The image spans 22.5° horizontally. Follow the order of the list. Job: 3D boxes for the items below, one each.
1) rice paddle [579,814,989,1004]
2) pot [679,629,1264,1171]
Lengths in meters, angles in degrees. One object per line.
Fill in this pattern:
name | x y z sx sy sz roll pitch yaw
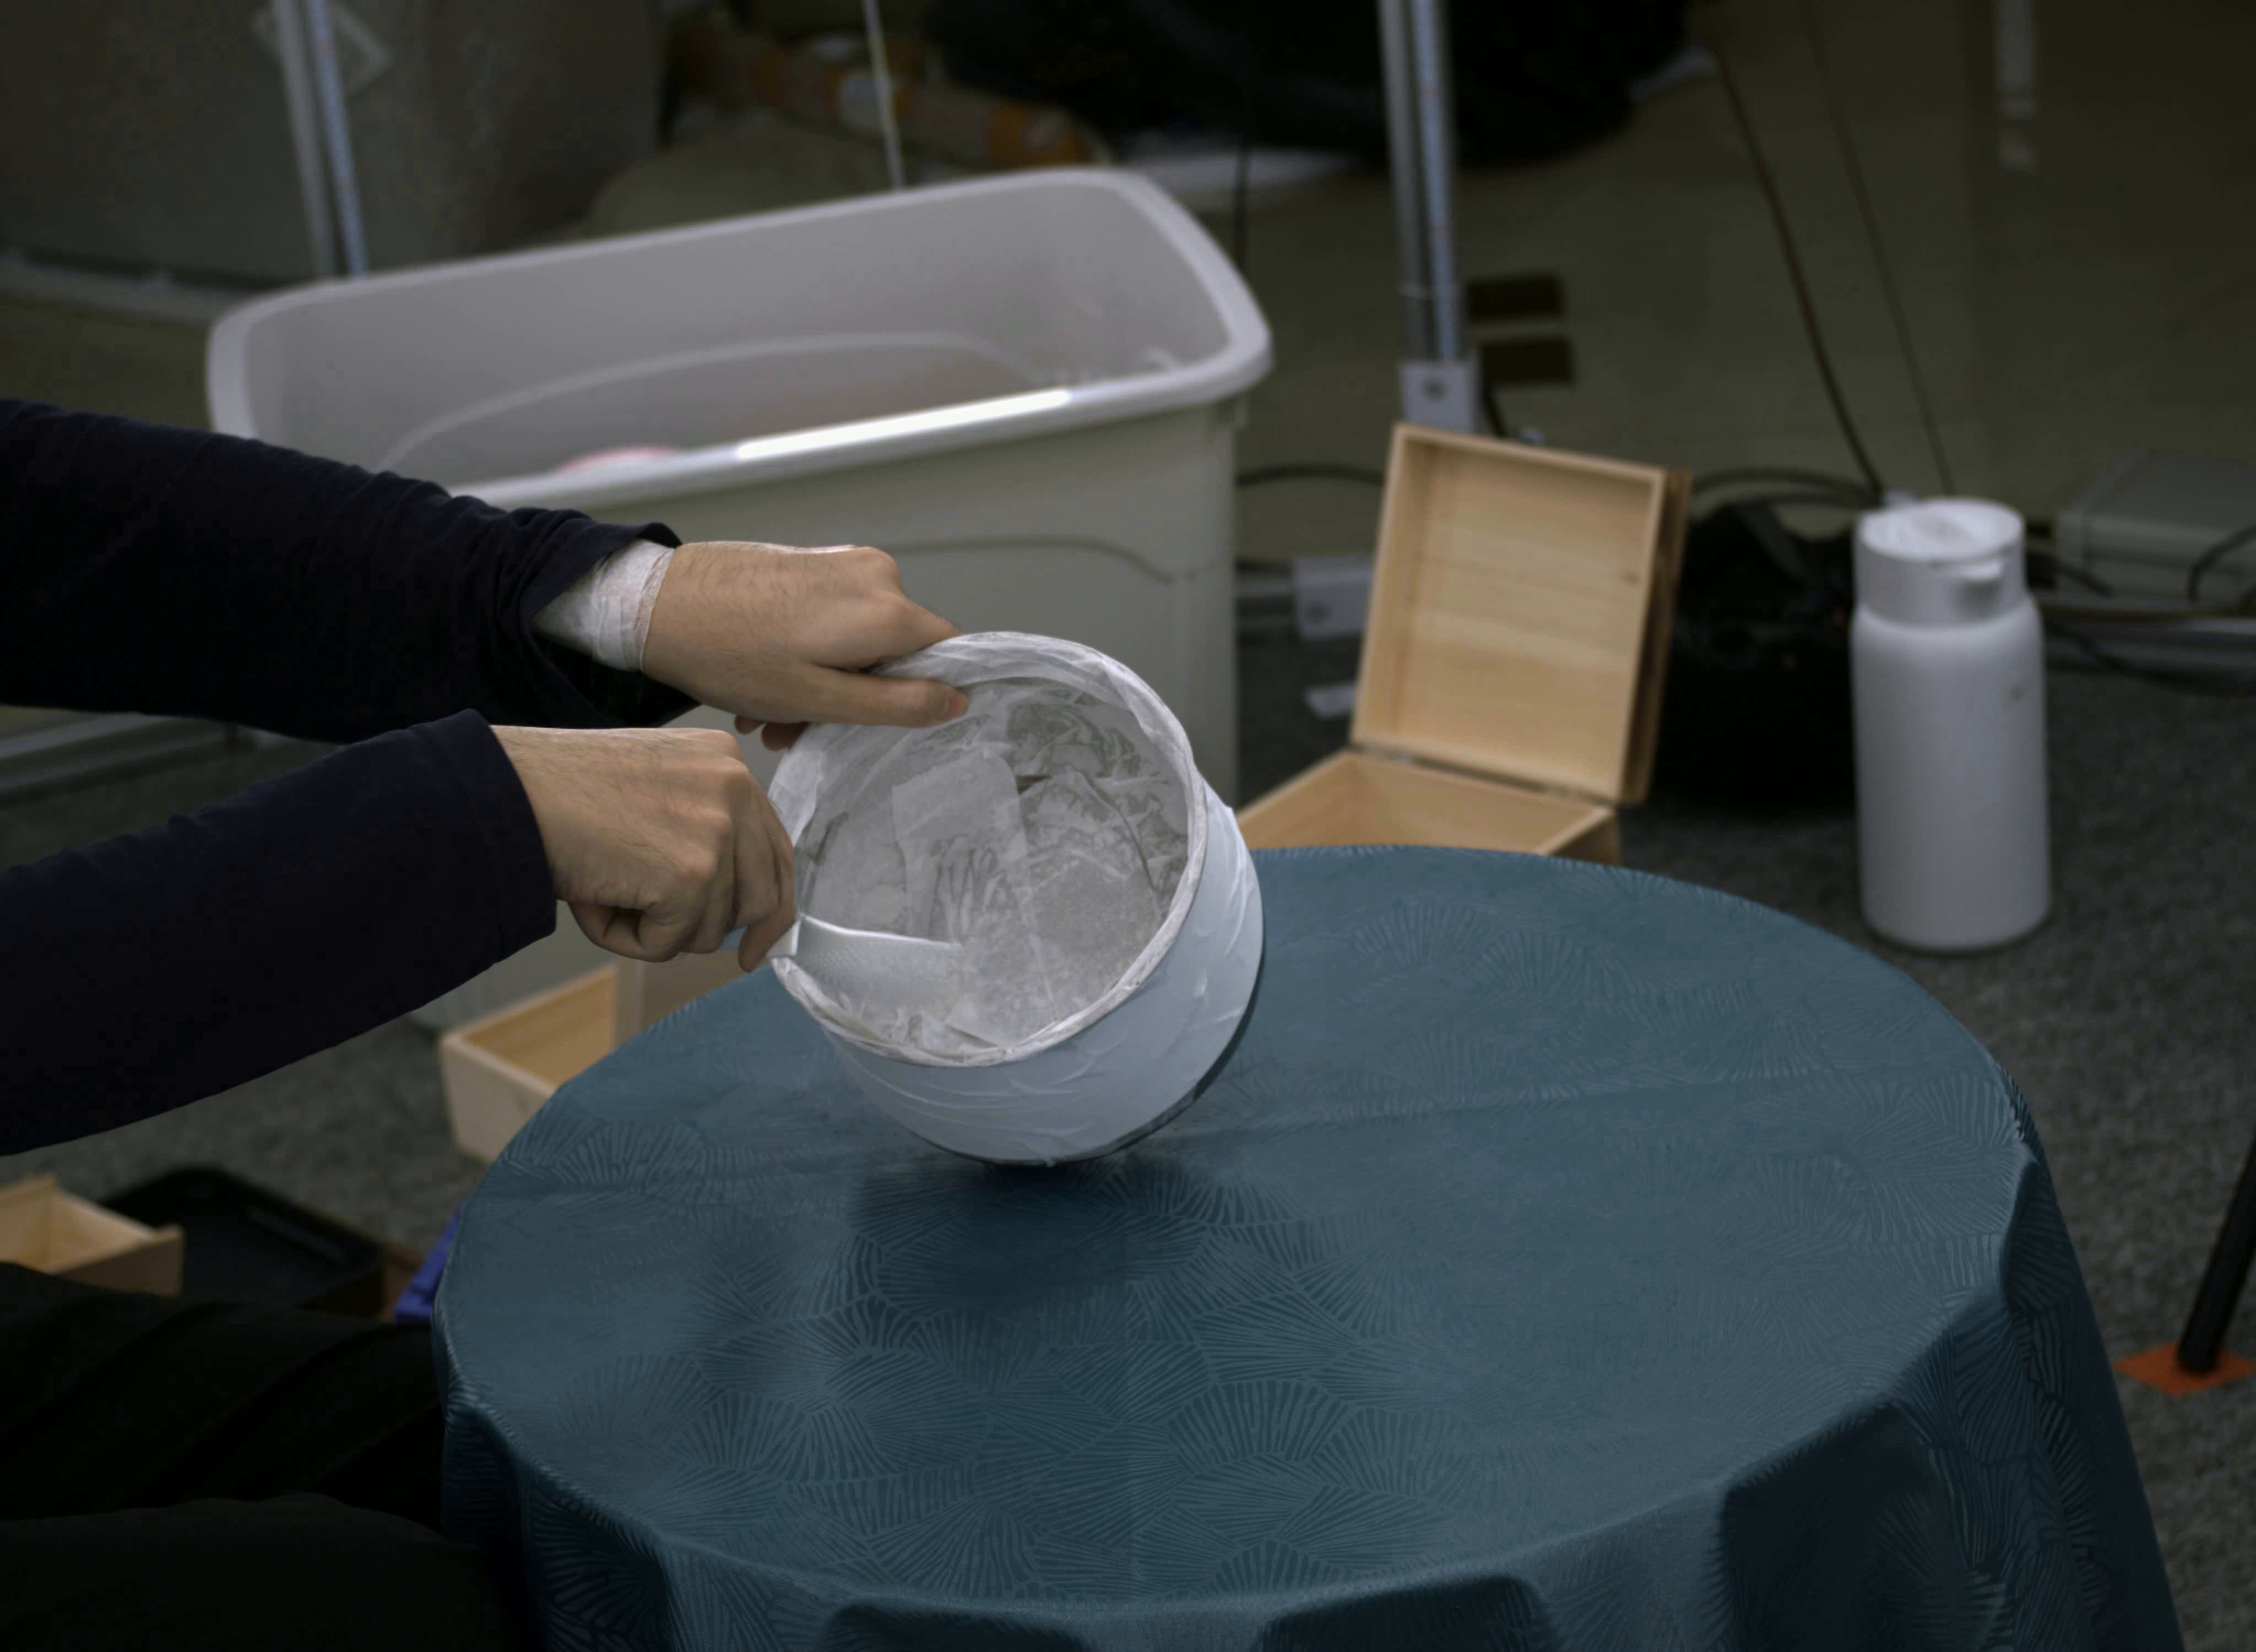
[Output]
rice paddle | -0.121 0.034 2.019 0.069 0.029 0.207 -6 -18 33
pot | -0.068 0.030 2.164 0.233 0.138 0.176 7 66 16
